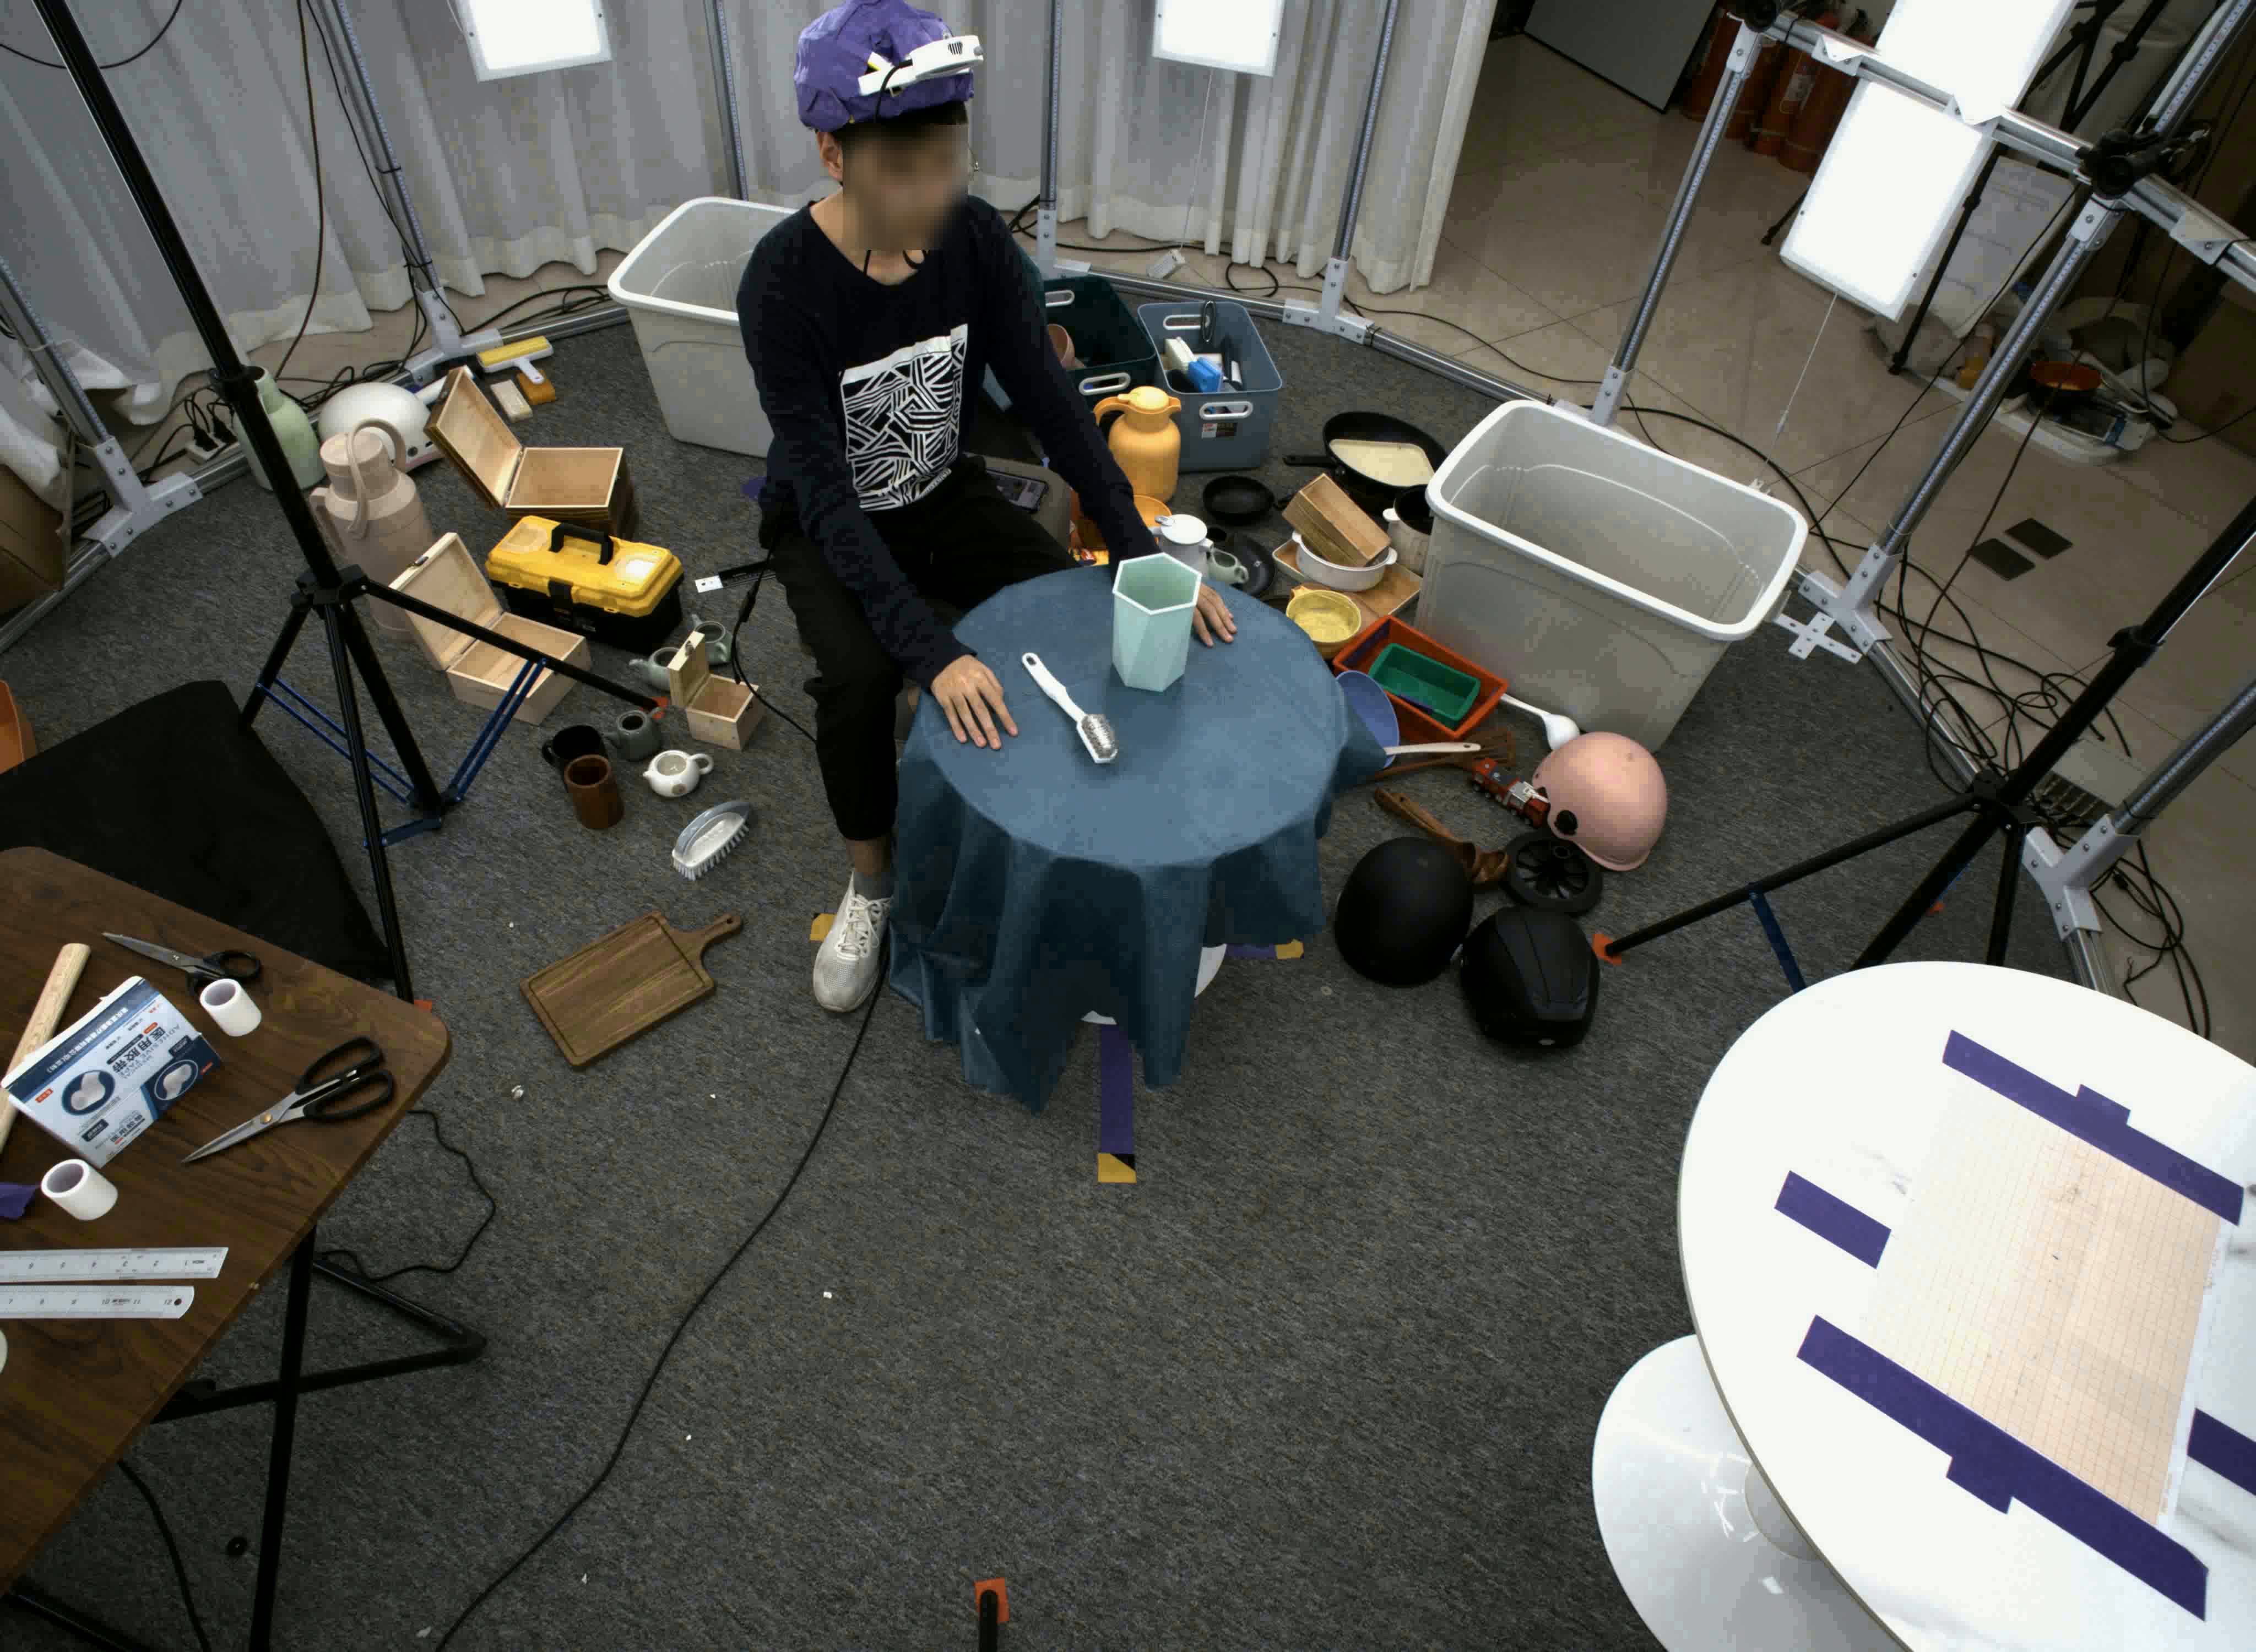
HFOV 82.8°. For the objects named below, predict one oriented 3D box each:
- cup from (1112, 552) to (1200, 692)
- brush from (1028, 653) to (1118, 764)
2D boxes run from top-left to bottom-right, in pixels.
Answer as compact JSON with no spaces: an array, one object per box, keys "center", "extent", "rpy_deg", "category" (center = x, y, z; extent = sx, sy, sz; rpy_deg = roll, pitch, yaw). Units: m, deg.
[{"center":[0.036,-0.282,1.810],"extent":[0.115,0.159,0.134],"rpy_deg":[7,48,3],"category":"cup"},{"center":[-0.081,-0.178,1.787],"extent":[0.034,0.049,0.249],"rpy_deg":[-22,53,-16],"category":"brush"}]
